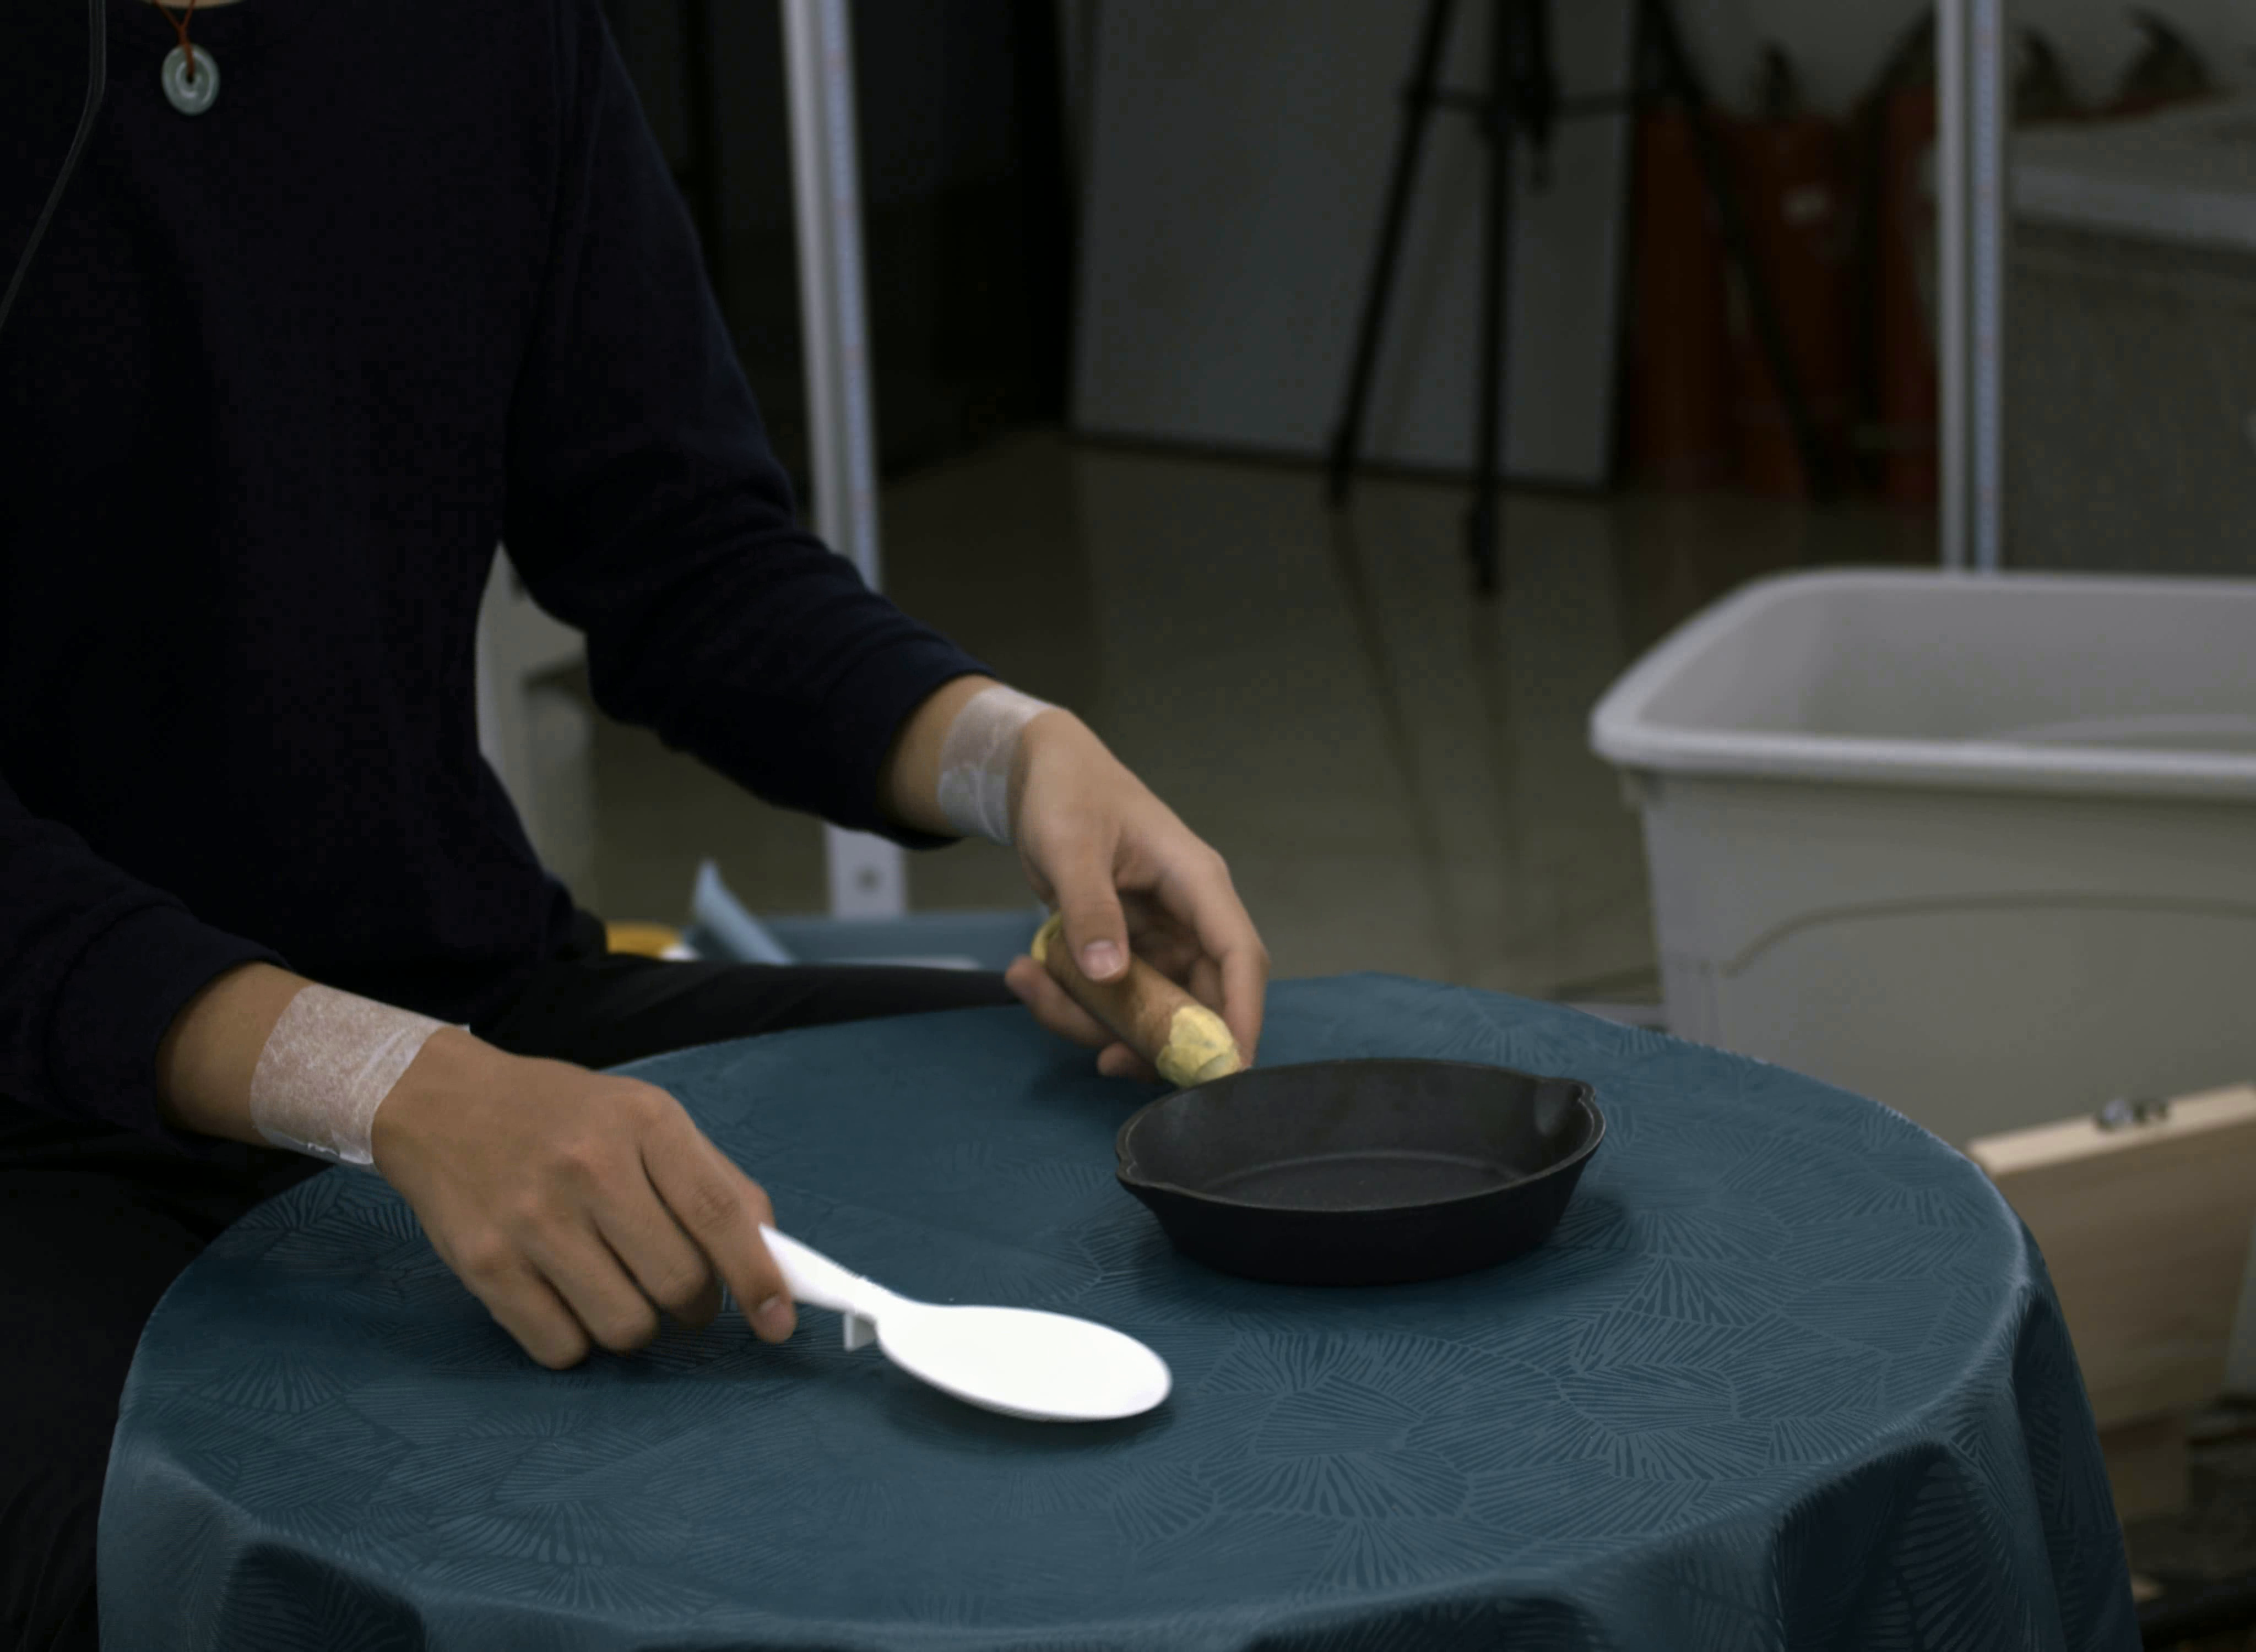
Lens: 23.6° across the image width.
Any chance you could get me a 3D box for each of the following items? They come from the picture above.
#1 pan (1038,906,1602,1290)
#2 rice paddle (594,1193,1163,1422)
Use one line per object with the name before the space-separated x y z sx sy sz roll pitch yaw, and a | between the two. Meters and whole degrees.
pan | 0.041 0.086 1.792 0.165 0.050 0.327 -10 16 -21
rice paddle | -0.075 0.146 1.611 0.207 0.030 0.067 13 20 37
